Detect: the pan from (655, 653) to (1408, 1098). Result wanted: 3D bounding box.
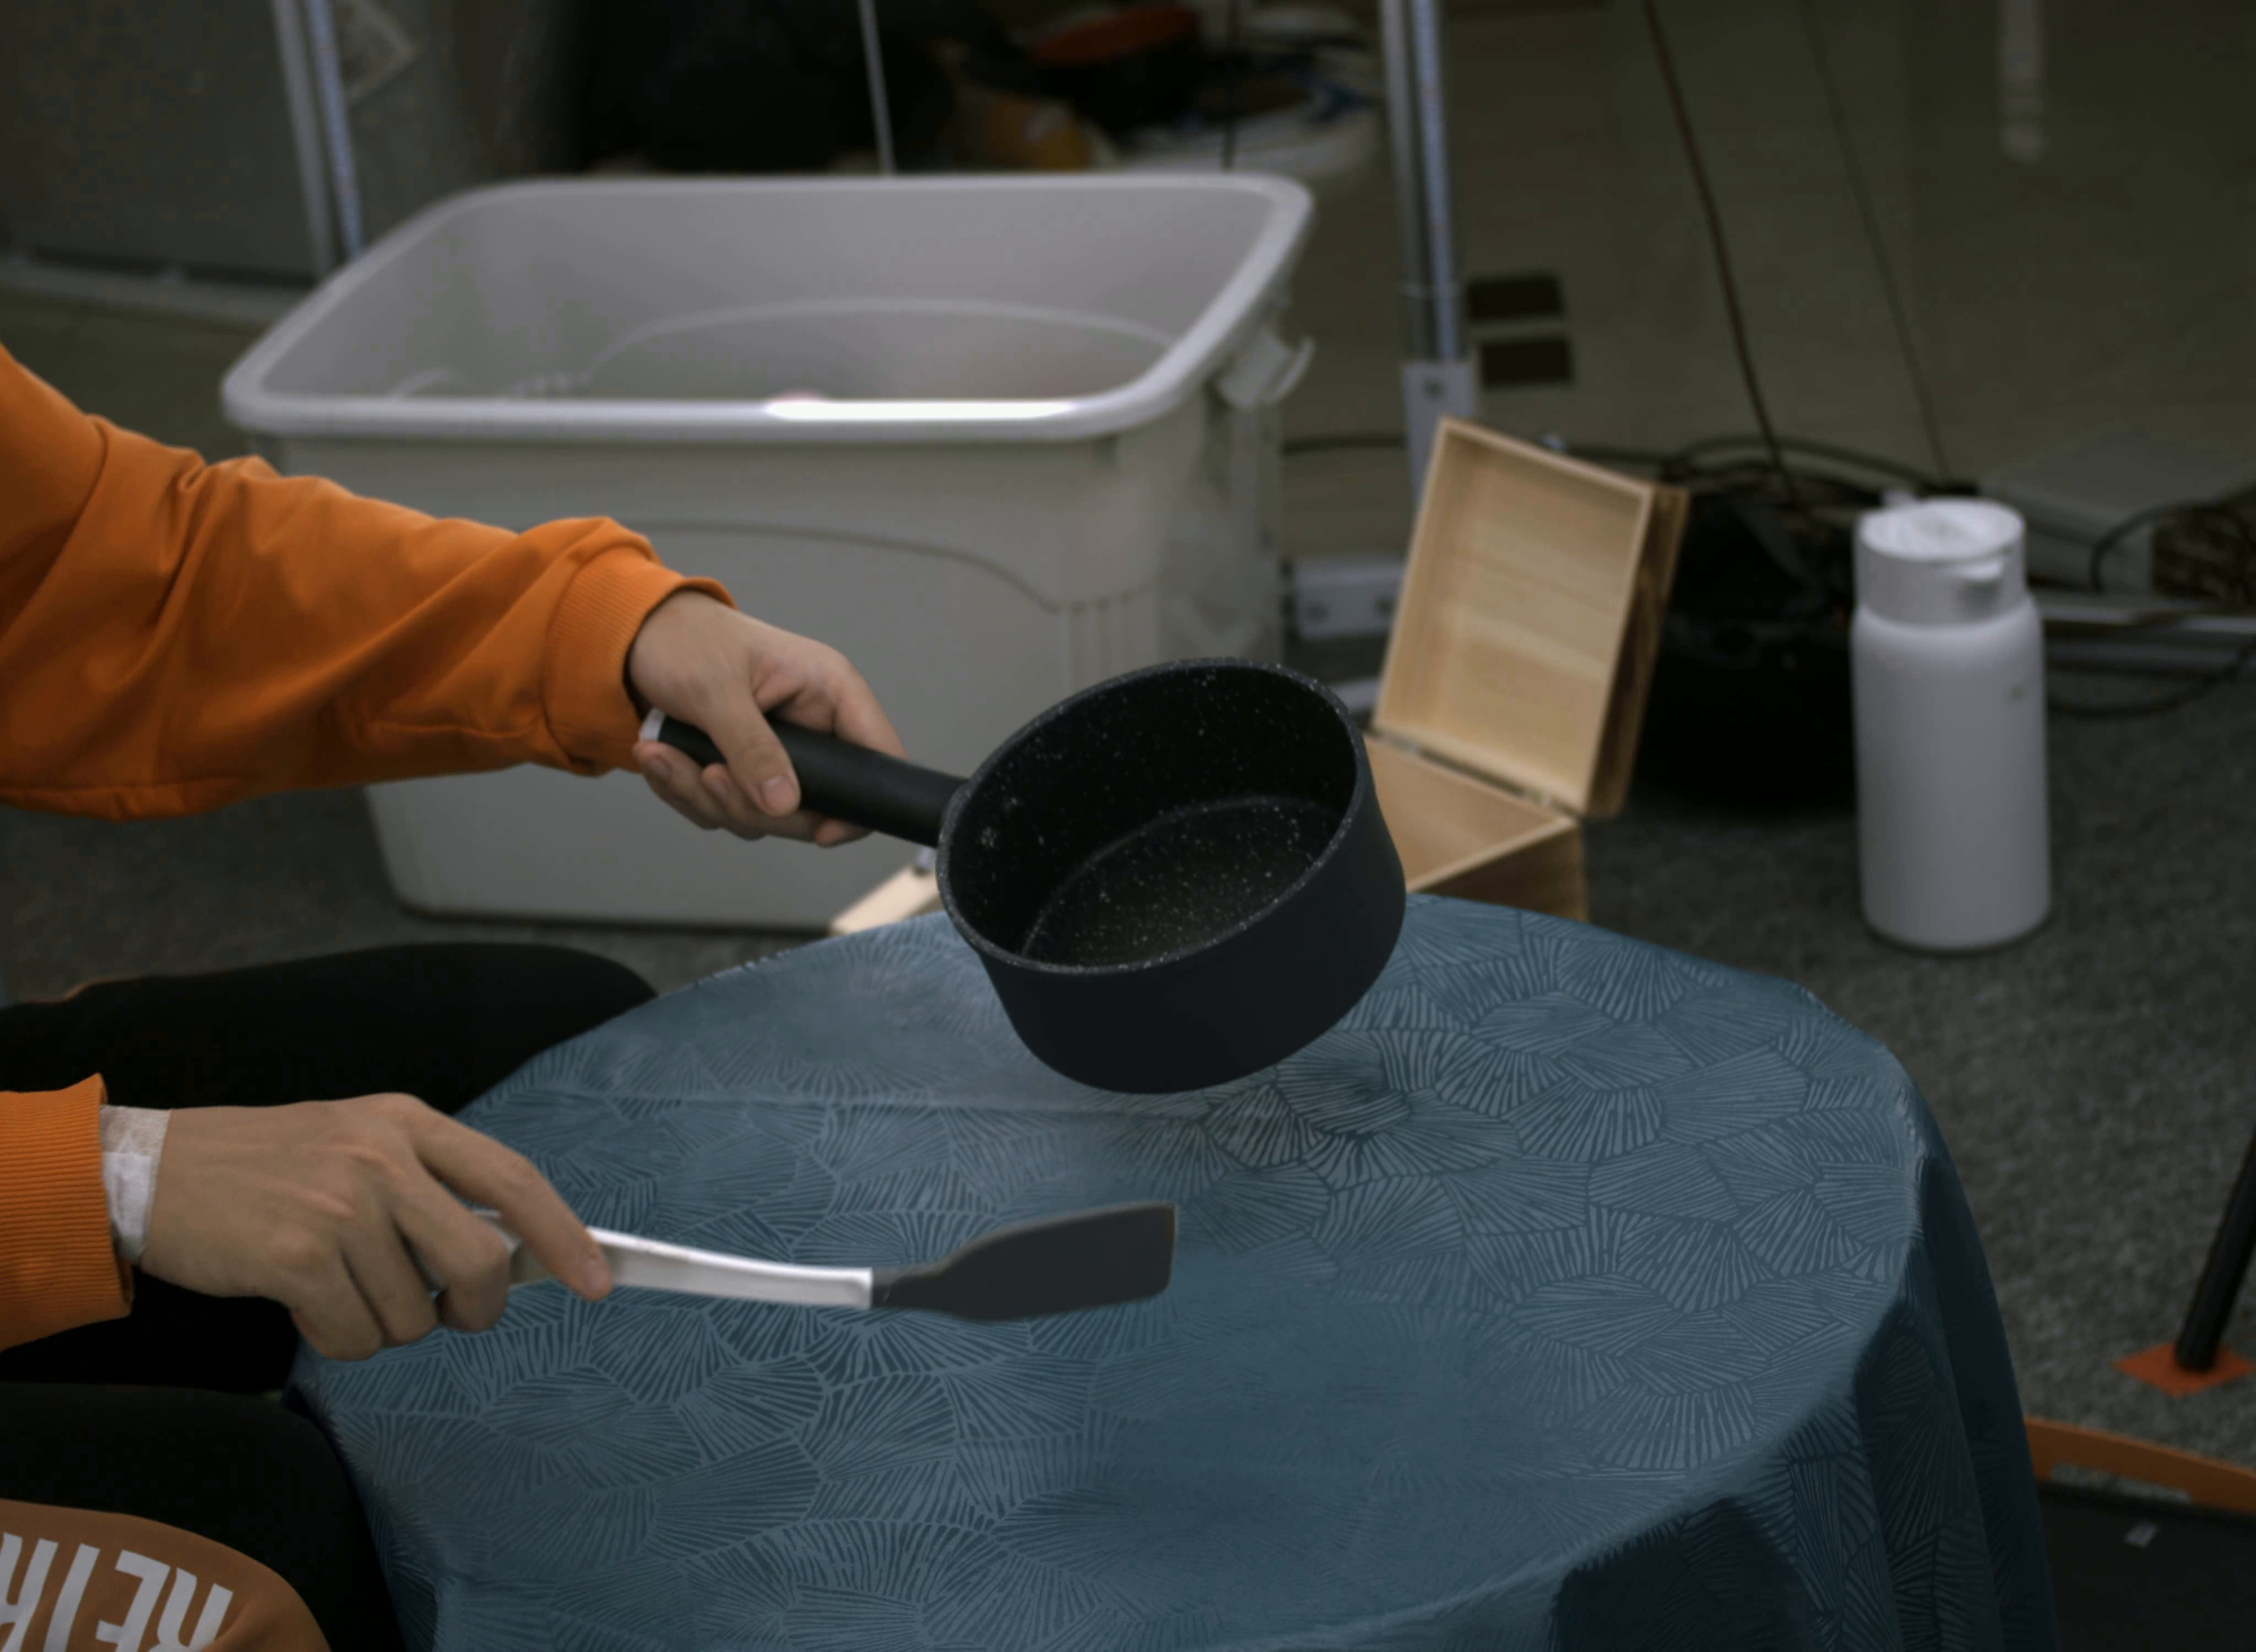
[{"bbox_3d":[-0.044,0.005,2.204,0.327,0.088,0.170,14,52,34],"label":"pan"}]

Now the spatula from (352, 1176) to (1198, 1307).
[{"bbox_3d":[-0.119,0.143,1.927,0.287,0.060,0.031,1,44,-5],"label":"spatula"}]
